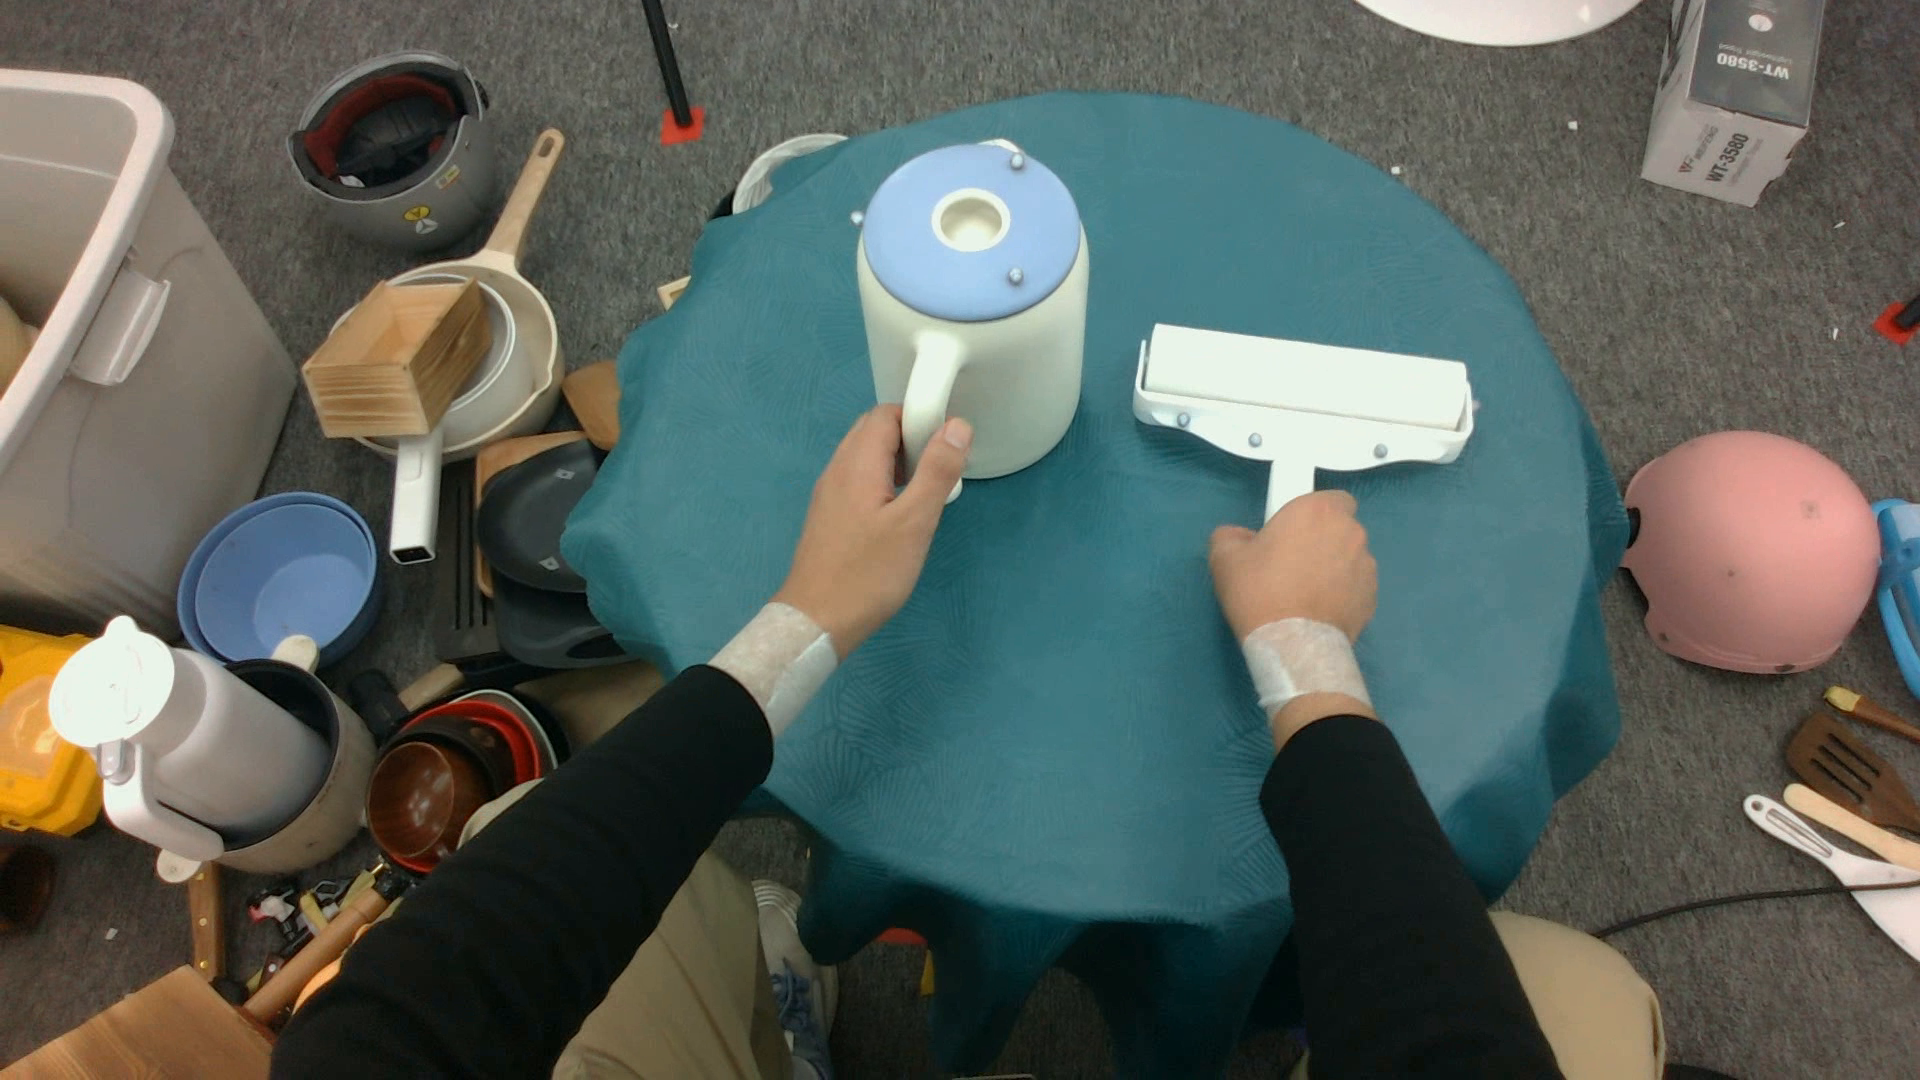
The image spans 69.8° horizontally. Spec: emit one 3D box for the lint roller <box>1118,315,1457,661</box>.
[{"bbox_3d":[0.191,-0.034,0.812,0.203,0.048,0.226,7,57,3],"label":"lint roller"}]

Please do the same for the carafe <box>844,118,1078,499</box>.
[{"bbox_3d":[-0.004,-0.119,0.803,0.132,0.182,0.192,11,67,8],"label":"carafe"}]
